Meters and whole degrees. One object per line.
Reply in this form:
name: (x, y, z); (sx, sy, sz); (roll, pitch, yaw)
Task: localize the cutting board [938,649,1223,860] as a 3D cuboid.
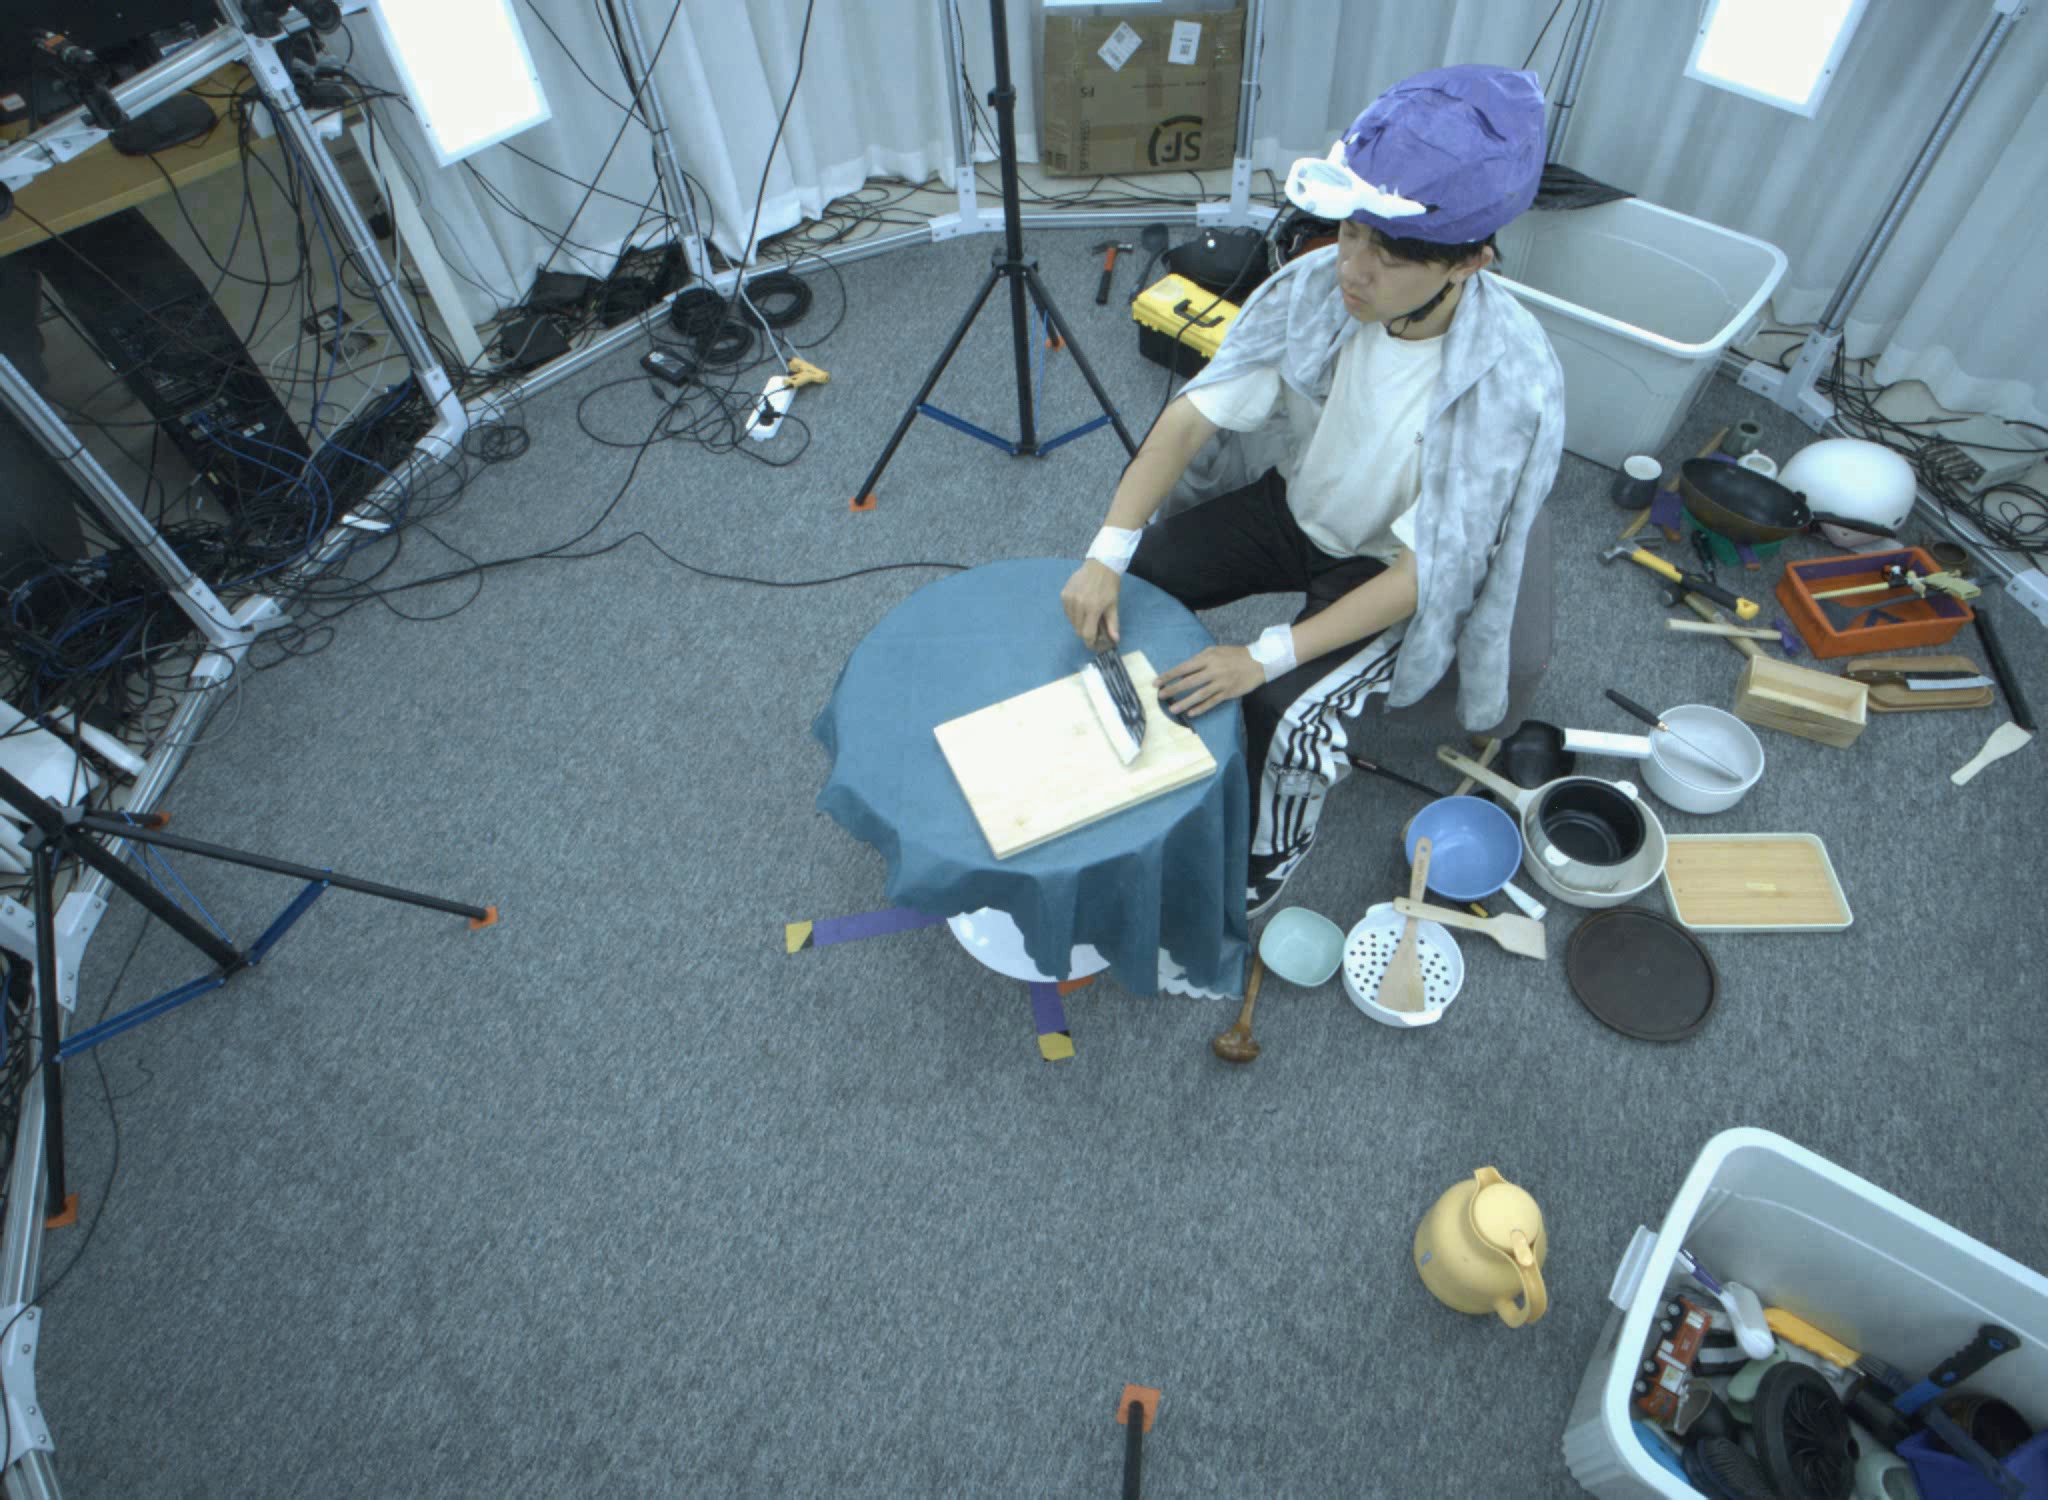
cutting board: (0.075, -0.002, 1.779); (0.351, 0.024, 0.246); (-22, 57, -13)

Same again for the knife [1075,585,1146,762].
knife: (0.117, -0.115, 1.799); (0.067, 0.024, 0.295); (-34, 59, 23)
